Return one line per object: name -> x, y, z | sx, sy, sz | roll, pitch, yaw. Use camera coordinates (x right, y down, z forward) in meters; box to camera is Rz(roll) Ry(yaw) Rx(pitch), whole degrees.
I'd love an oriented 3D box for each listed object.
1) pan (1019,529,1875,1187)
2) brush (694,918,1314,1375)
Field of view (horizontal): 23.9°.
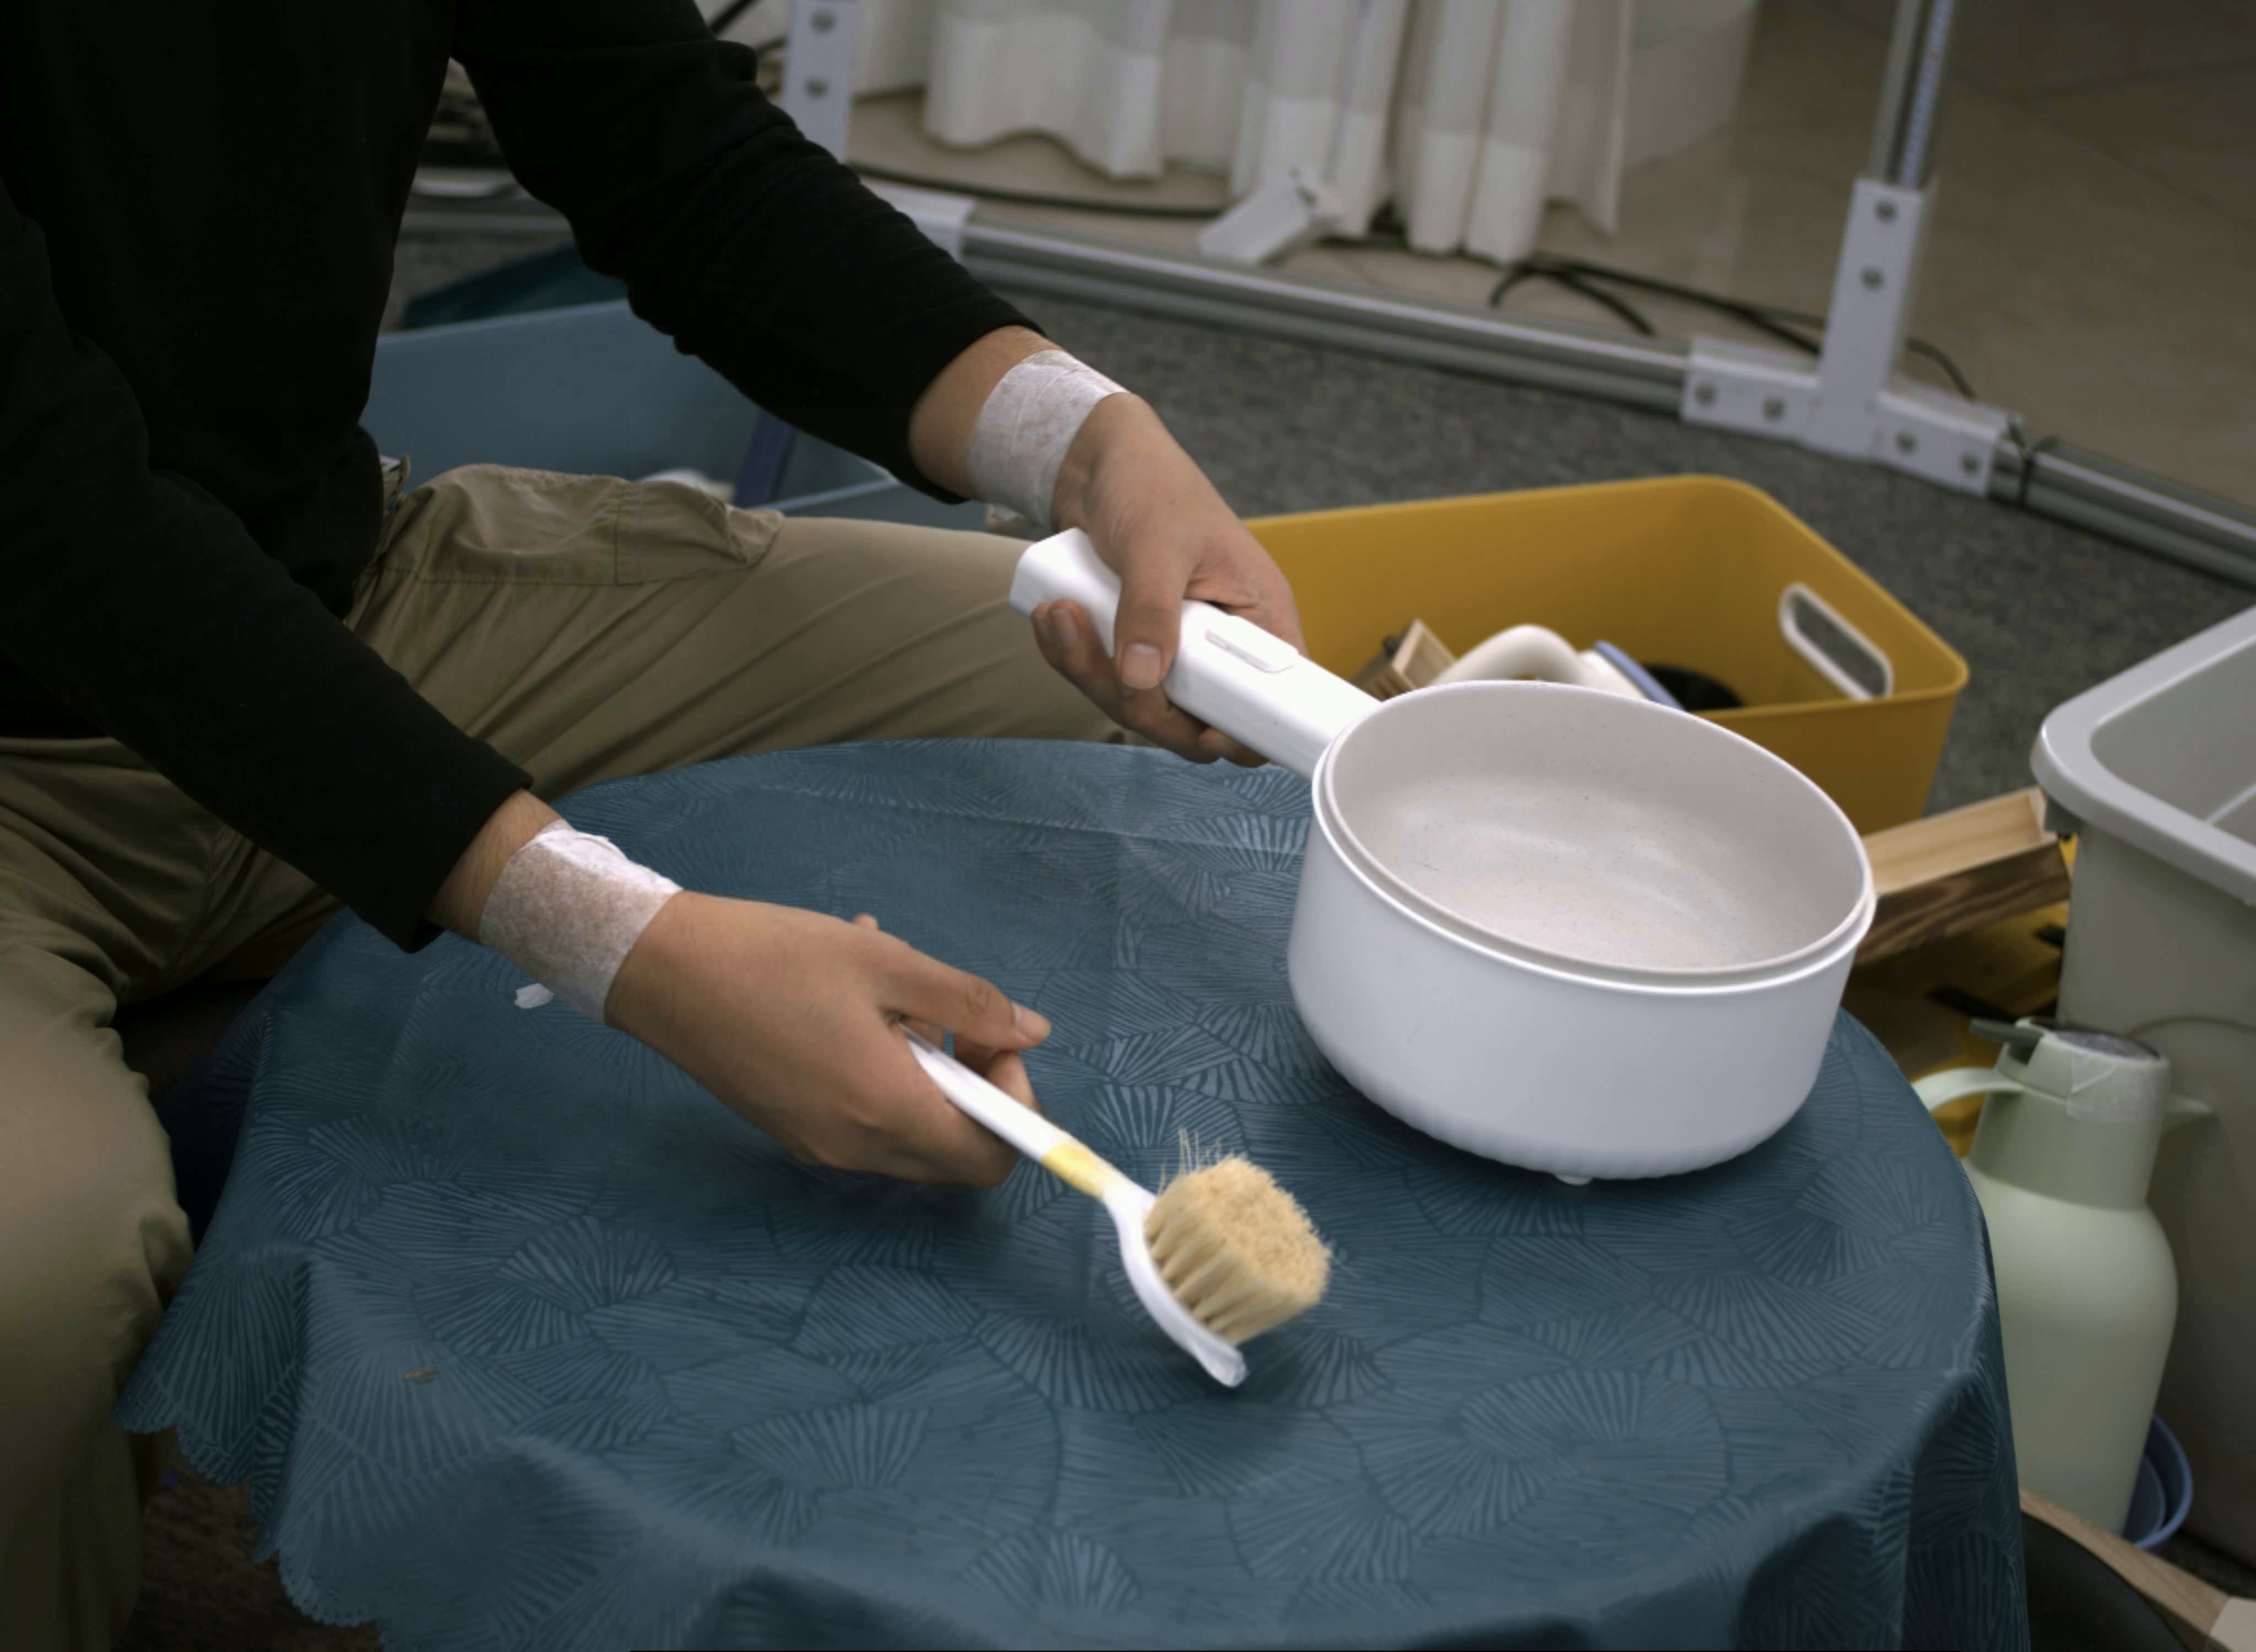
pan -> 0.098, 0.009, 1.920 | 0.357, 0.102, 0.200 | 30, 36, 31
brush -> -0.042, 0.084, 1.745 | 0.268, 0.056, 0.068 | 38, 10, 31
